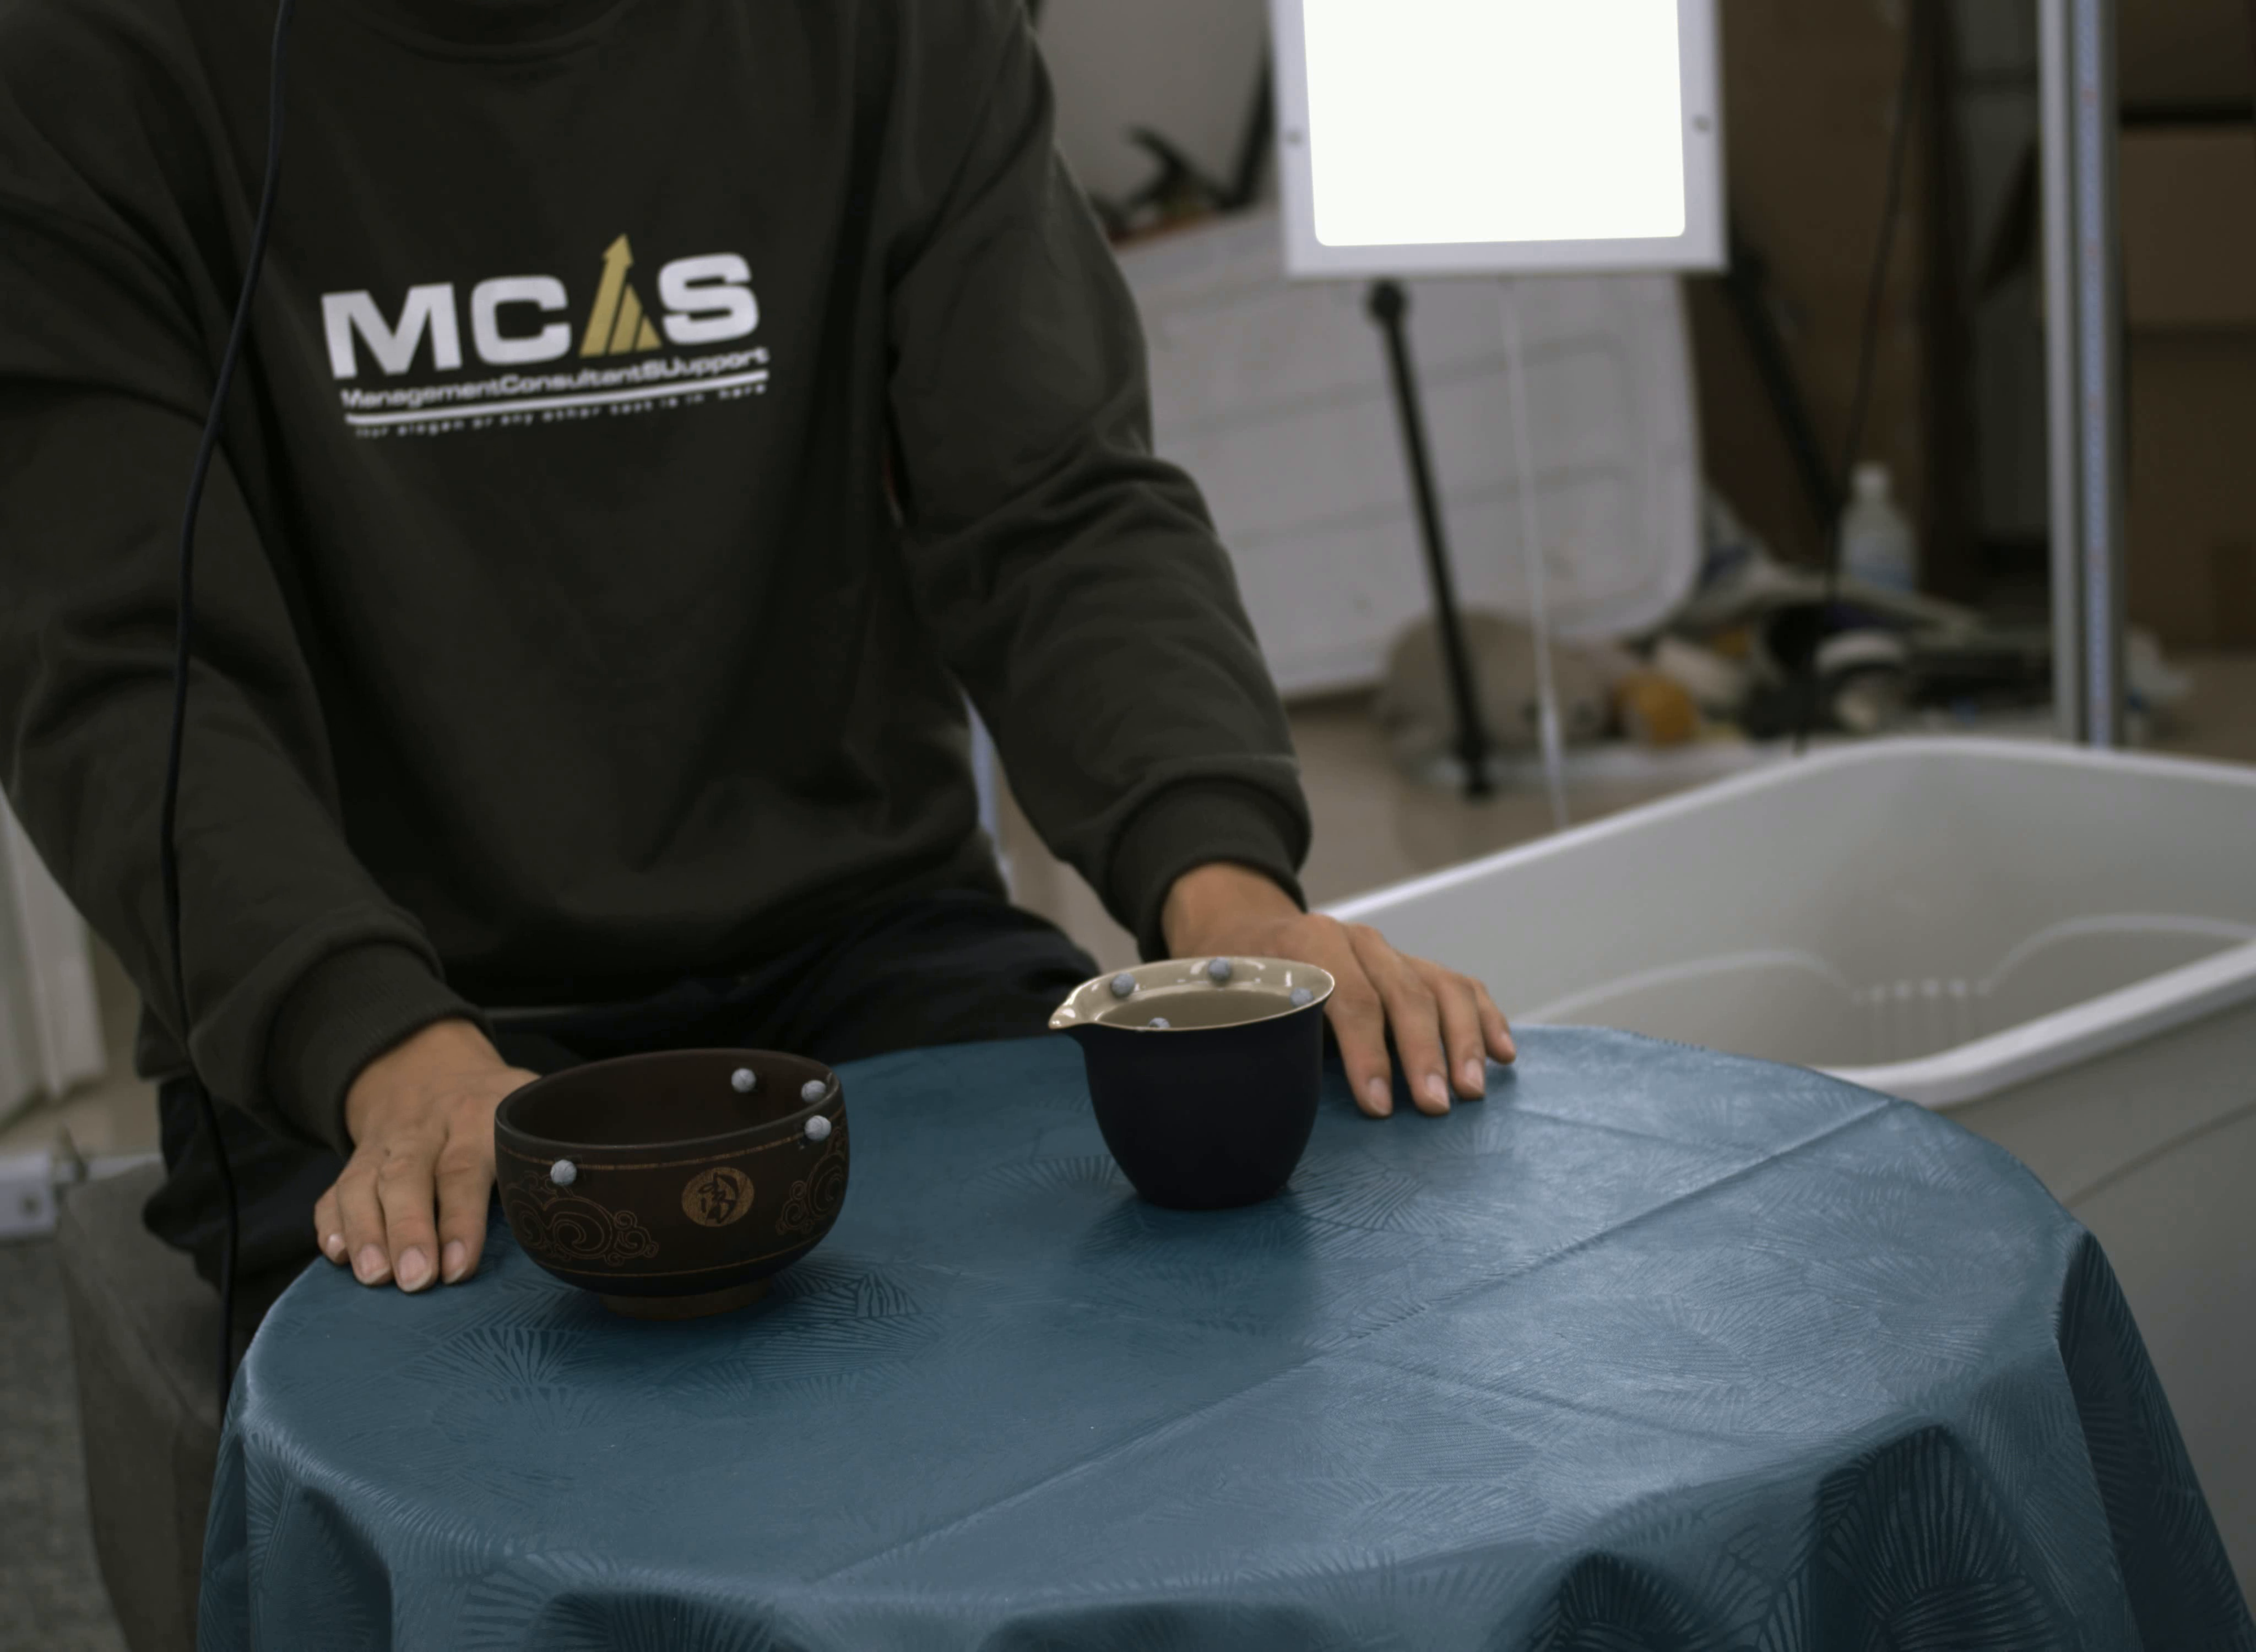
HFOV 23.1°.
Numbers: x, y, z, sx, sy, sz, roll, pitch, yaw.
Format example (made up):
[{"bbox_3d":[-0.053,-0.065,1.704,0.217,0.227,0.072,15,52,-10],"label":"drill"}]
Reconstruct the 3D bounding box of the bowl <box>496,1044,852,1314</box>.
[{"bbox_3d":[-0.148,0.120,1.825,0.118,0.070,0.118,-6,12,0],"label":"bowl"}]

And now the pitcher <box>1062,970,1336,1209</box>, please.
[{"bbox_3d":[0.027,0.090,1.887,0.095,0.071,0.084,-9,17,-11],"label":"pitcher"}]
